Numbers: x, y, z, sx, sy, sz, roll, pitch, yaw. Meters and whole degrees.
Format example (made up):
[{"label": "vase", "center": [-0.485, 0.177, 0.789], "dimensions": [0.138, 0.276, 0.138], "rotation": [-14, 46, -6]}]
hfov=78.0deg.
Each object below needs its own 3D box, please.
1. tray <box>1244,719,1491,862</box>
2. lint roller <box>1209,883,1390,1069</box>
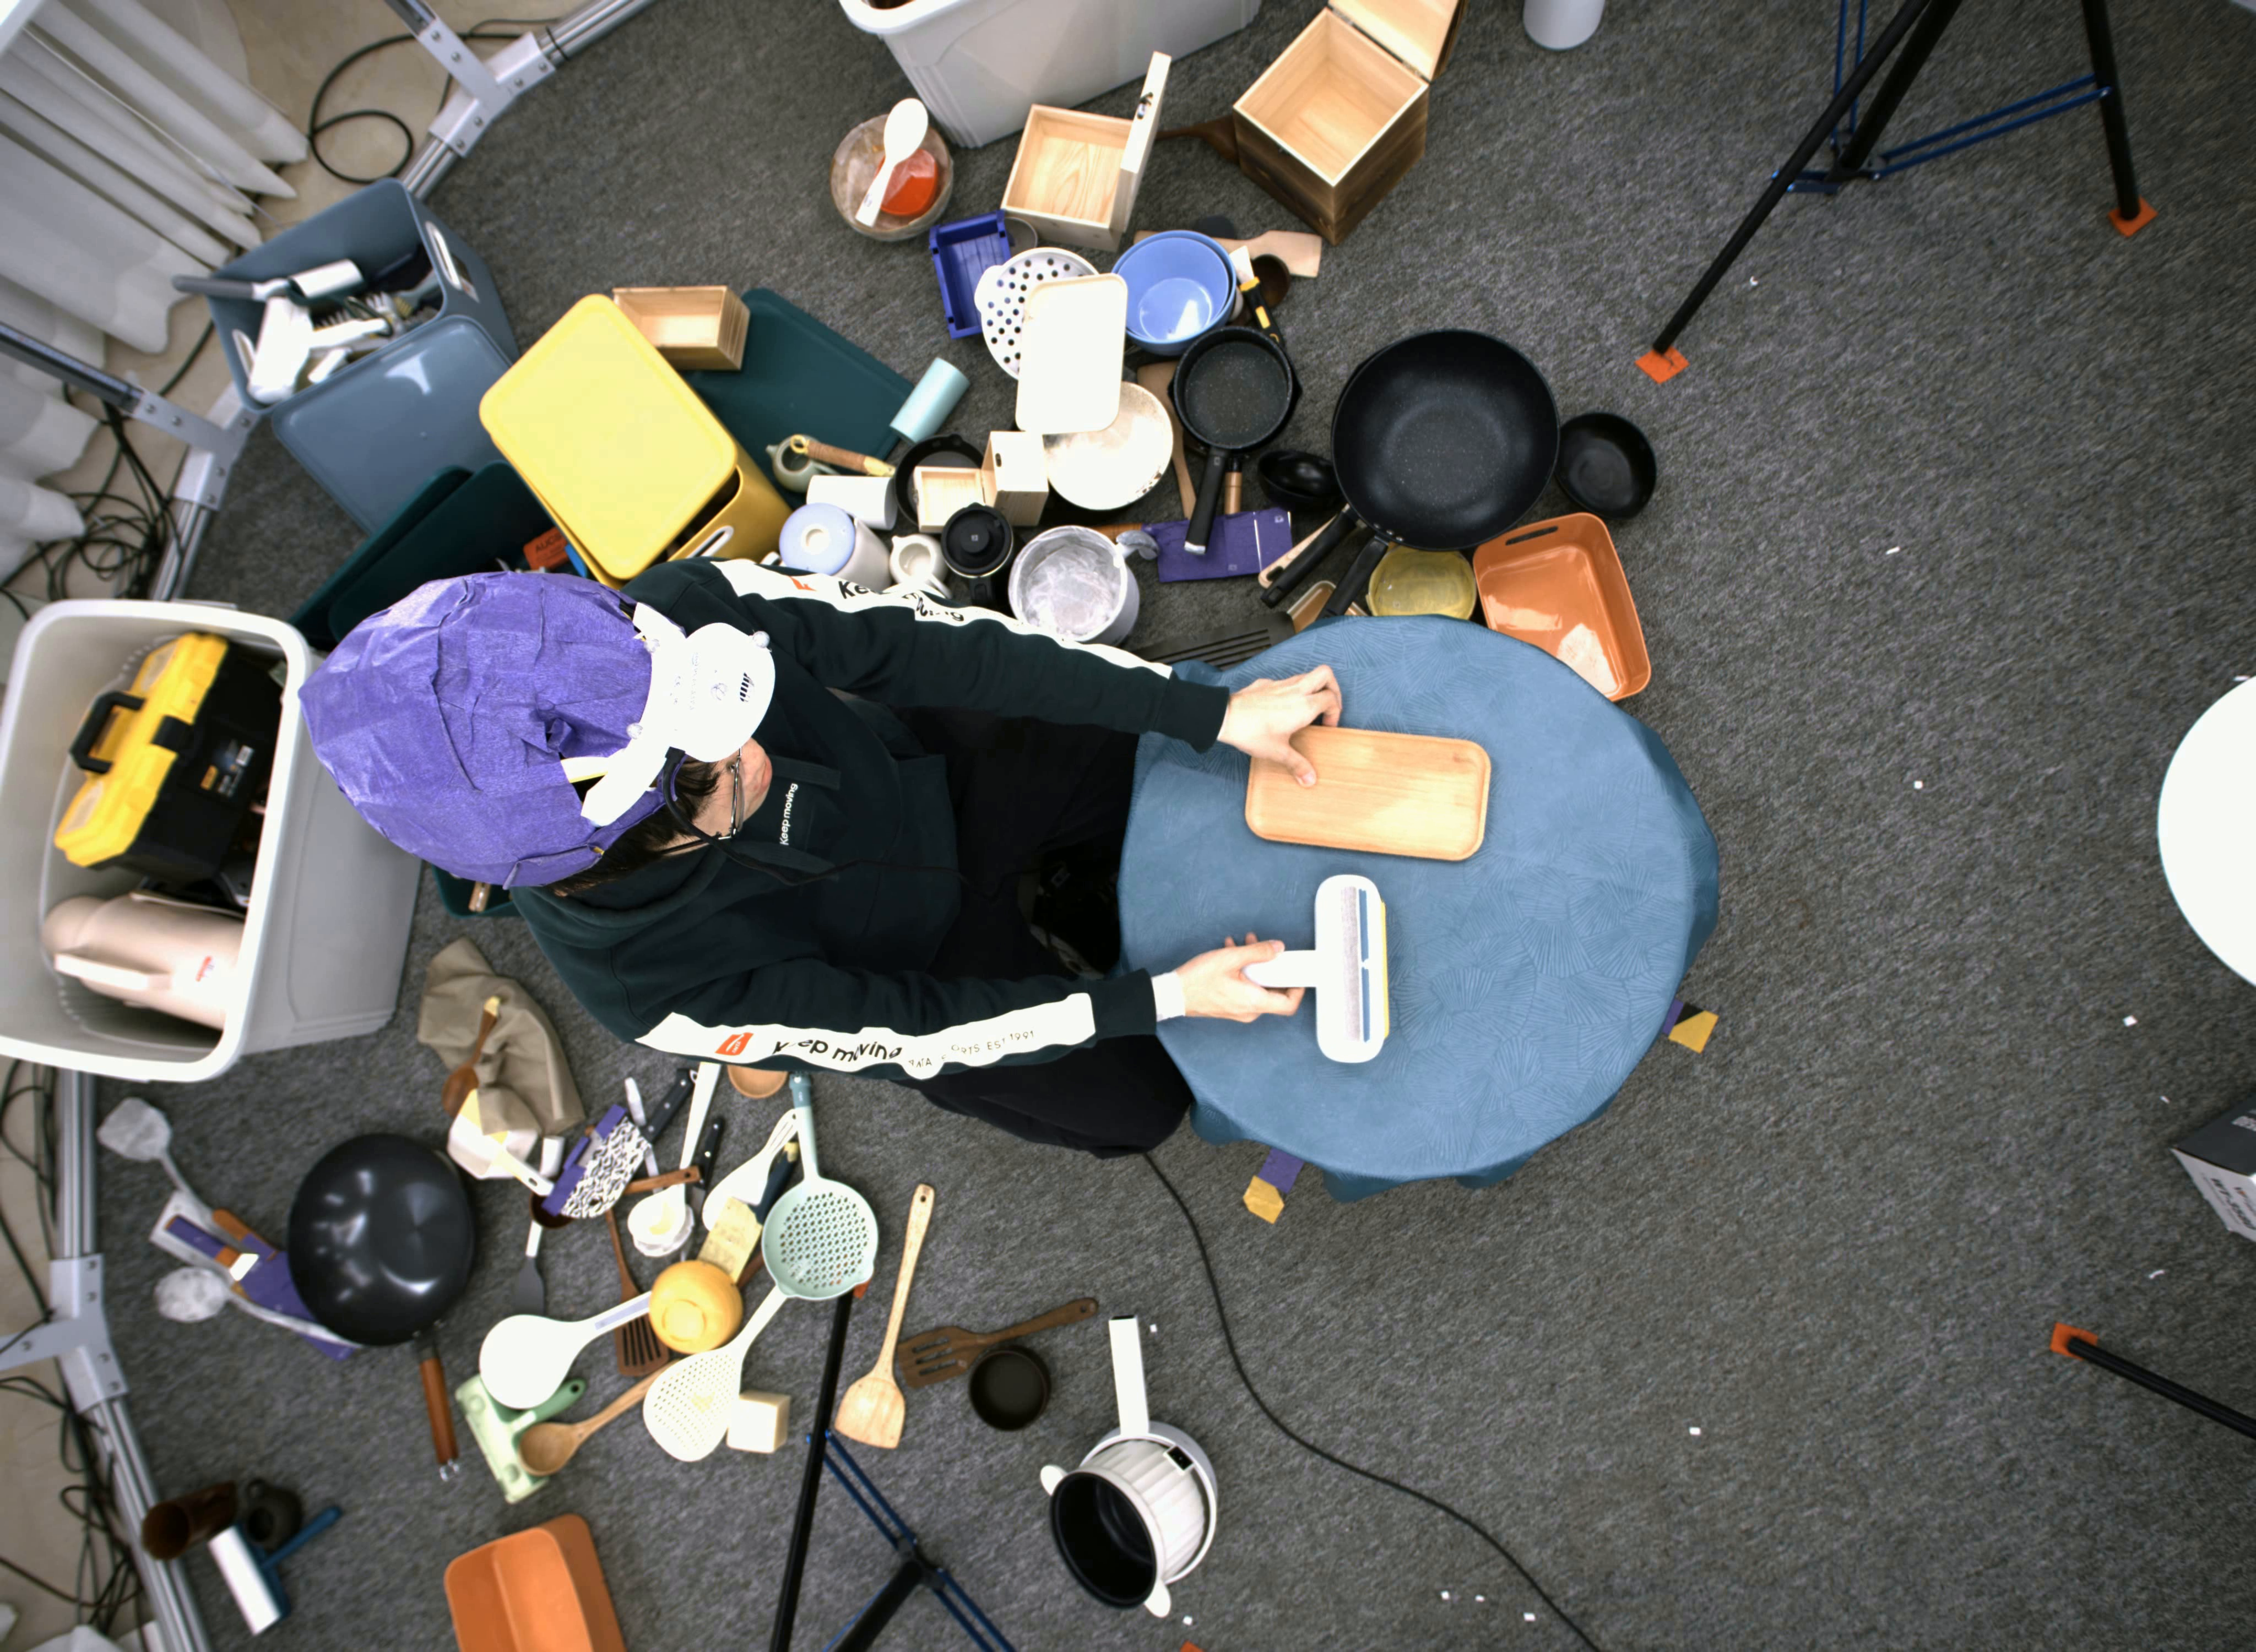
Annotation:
[{"label": "tray", "center": [0.251, -0.039, 1.453], "dimensions": [0.251, 0.023, 0.130], "rotation": [8, 90, 11]}, {"label": "lint roller", "center": [0.174, 0.153, 1.446], "dimensions": [0.193, 0.074, 0.191], "rotation": [2, 79, 18]}]
